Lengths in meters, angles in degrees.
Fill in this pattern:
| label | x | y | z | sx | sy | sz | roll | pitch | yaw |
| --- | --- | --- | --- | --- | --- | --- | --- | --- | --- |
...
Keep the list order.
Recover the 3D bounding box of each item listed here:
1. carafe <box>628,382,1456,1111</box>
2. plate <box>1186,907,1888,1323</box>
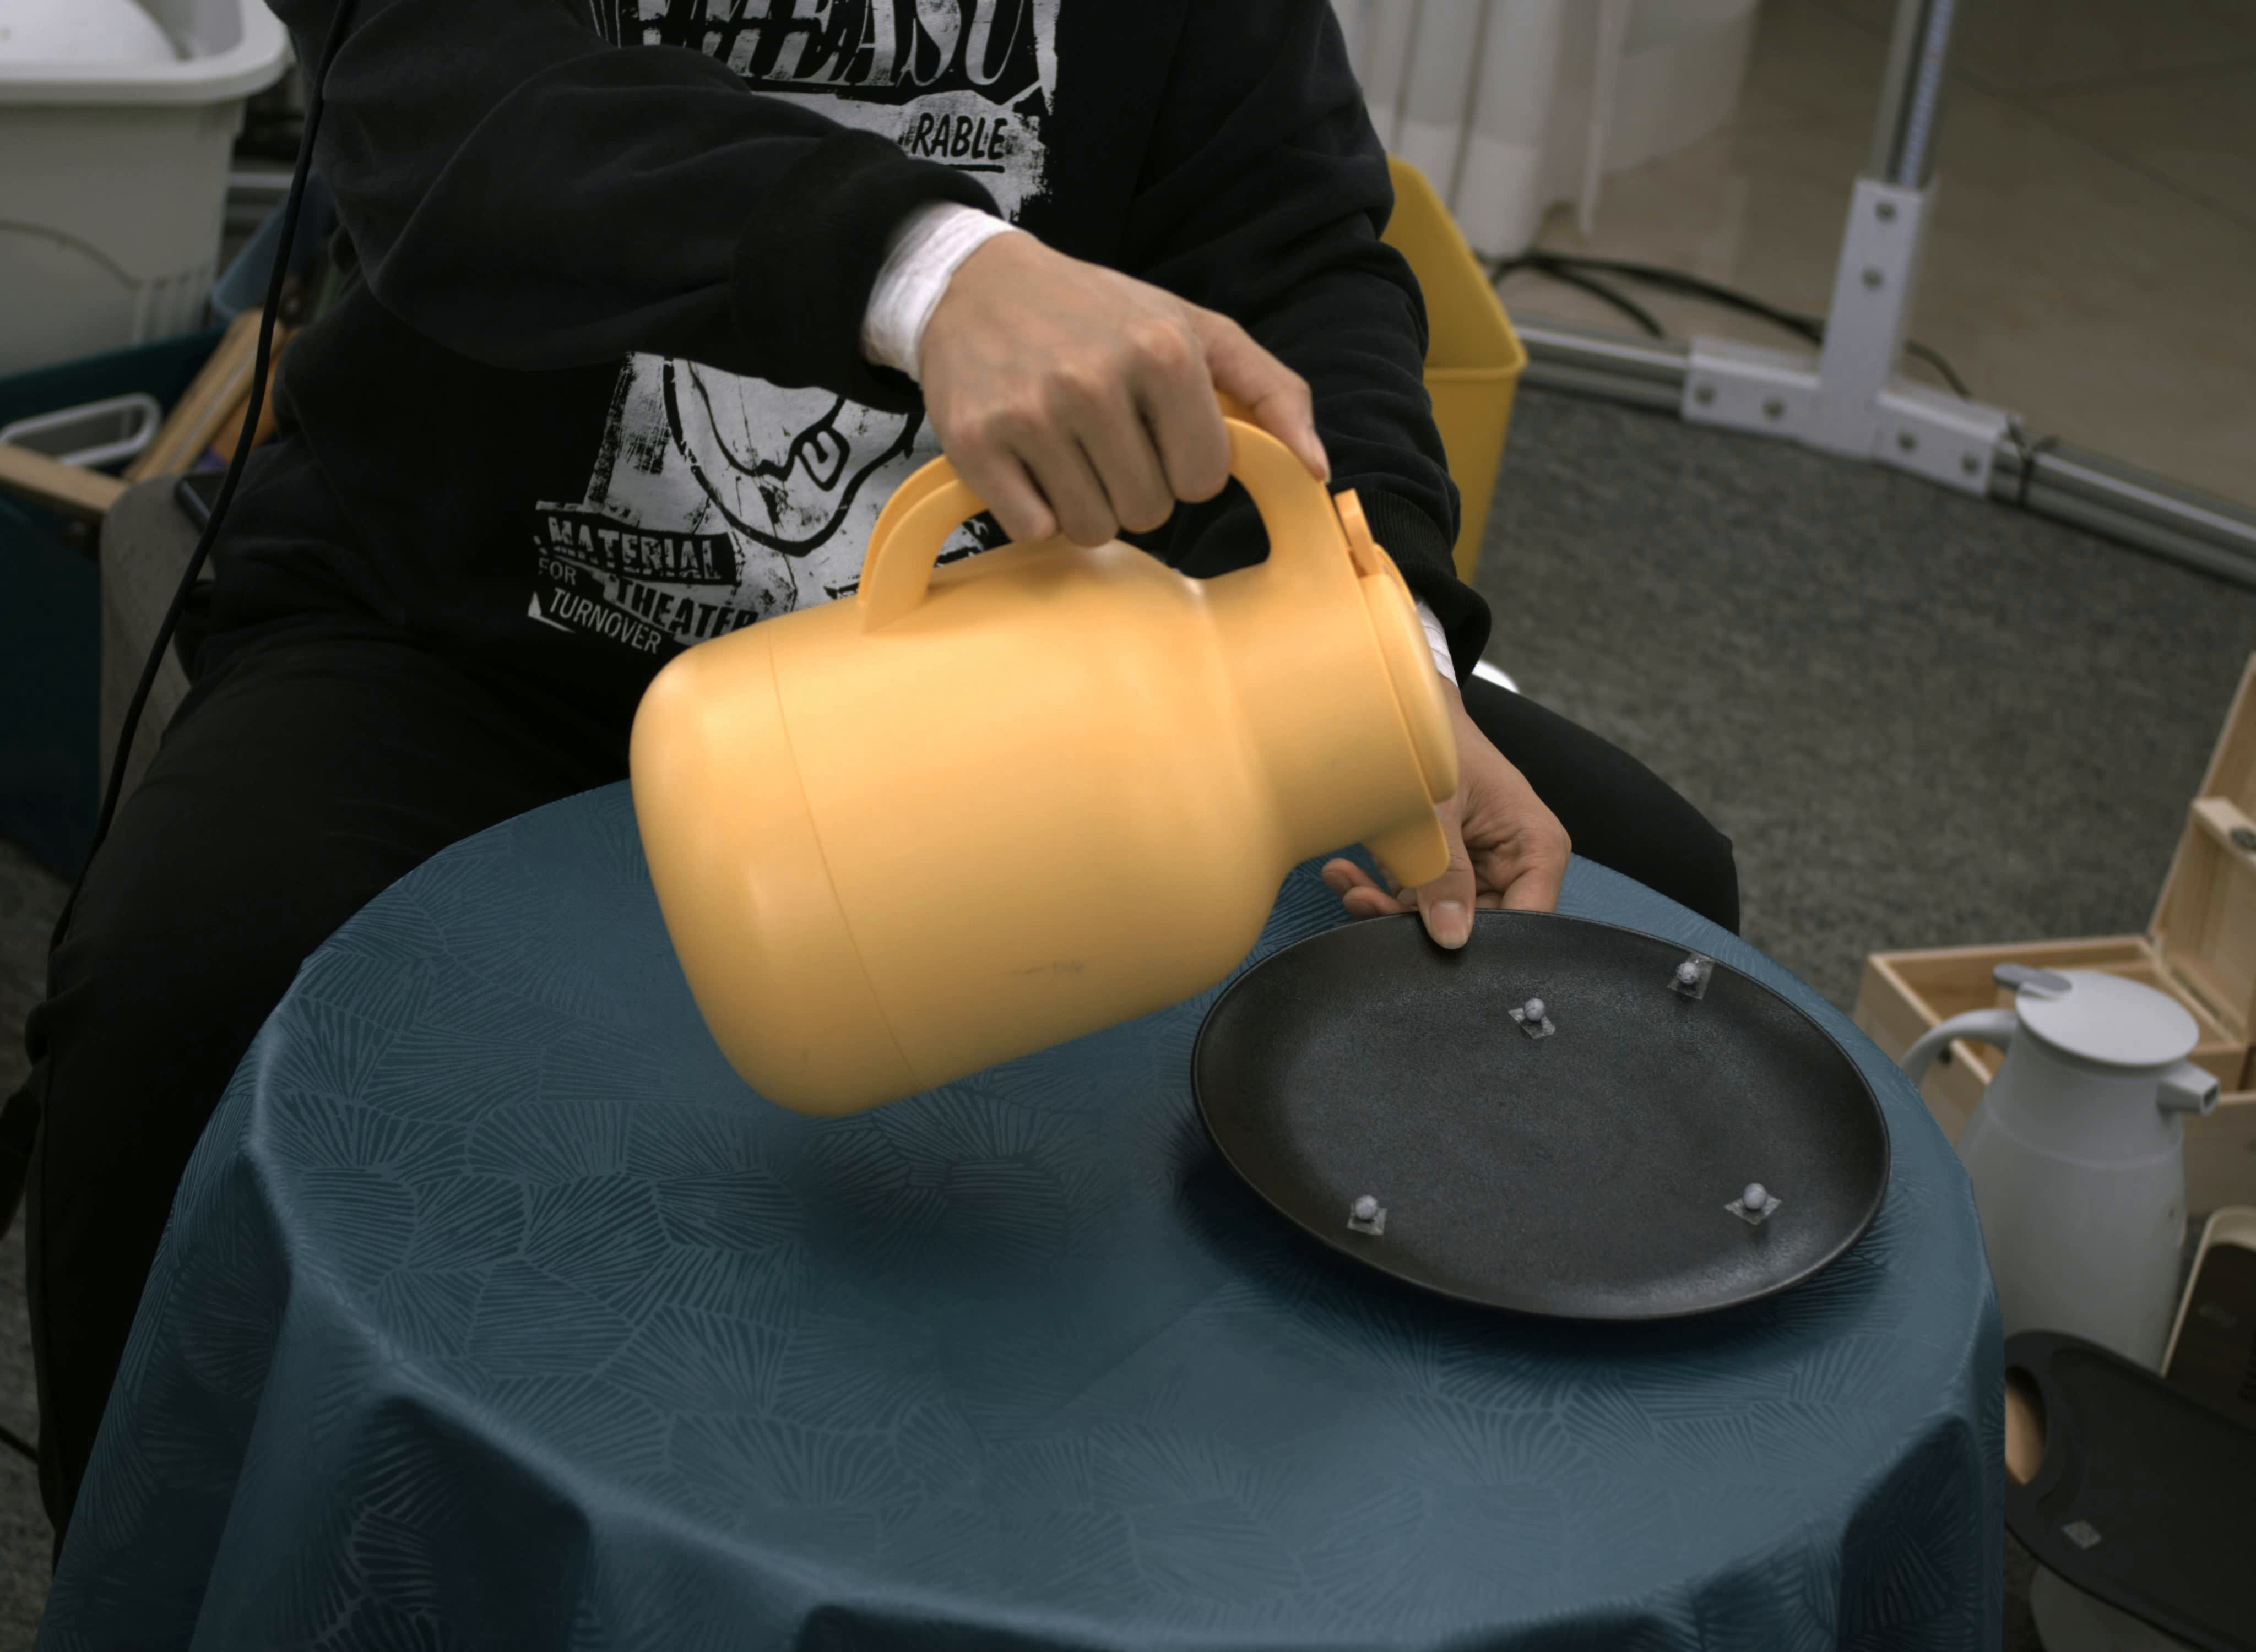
| label | x | y | z | sx | sy | sz | roll | pitch | yaw |
| --- | --- | --- | --- | --- | --- | --- | --- | --- | --- |
| carafe | -0.030 | -0.031 | 1.731 | 0.260 | 0.201 | 0.164 | -18 | 23 | 2 |
| plate | 0.140 | 0.104 | 1.834 | 0.243 | 0.023 | 0.246 | 5 | 32 | -3 |
